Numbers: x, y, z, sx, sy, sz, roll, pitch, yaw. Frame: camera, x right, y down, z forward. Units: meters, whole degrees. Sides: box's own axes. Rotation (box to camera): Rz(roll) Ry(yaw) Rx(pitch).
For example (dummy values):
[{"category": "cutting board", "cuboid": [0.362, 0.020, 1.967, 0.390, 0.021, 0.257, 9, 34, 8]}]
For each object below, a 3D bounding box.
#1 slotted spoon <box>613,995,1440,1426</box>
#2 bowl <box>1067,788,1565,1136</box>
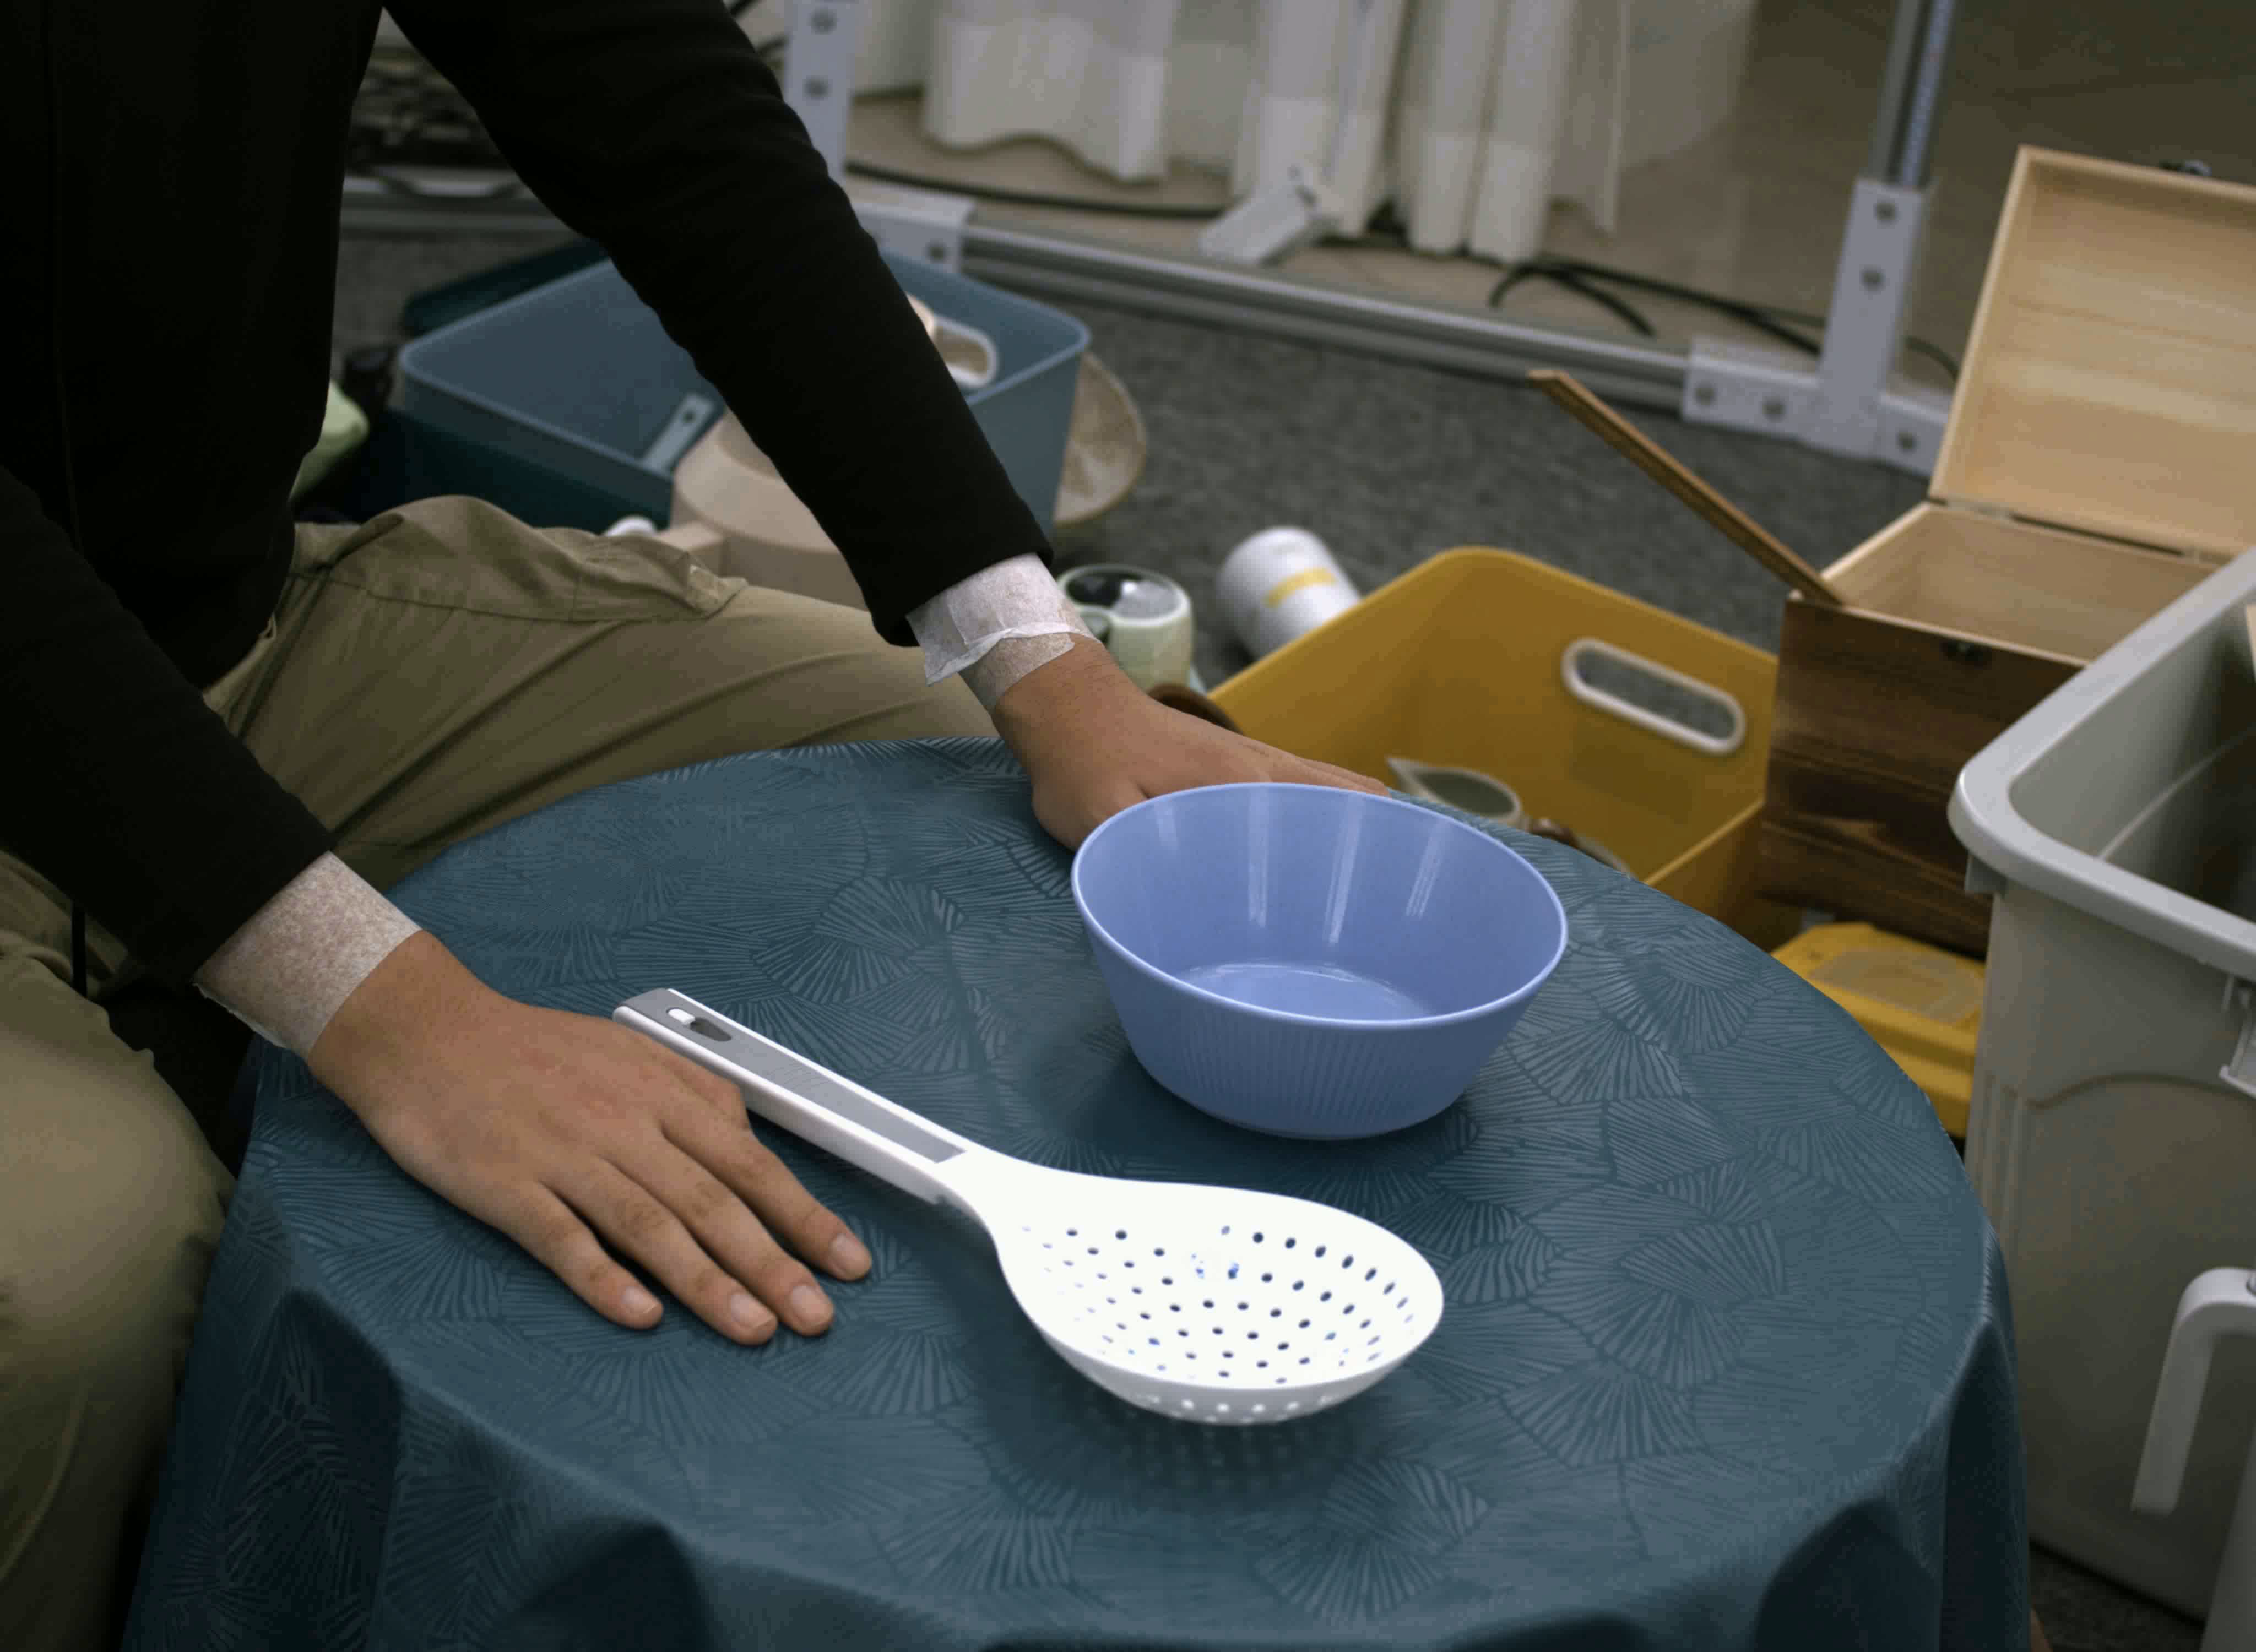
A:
[{"category": "slotted spoon", "cuboid": [-0.047, 0.119, 1.750, 0.352, 0.045, 0.135, 27, 33, 37]}, {"category": "bowl", "cuboid": [0.063, 0.053, 1.877, 0.175, 0.070, 0.177, 4, 26, -2]}]
